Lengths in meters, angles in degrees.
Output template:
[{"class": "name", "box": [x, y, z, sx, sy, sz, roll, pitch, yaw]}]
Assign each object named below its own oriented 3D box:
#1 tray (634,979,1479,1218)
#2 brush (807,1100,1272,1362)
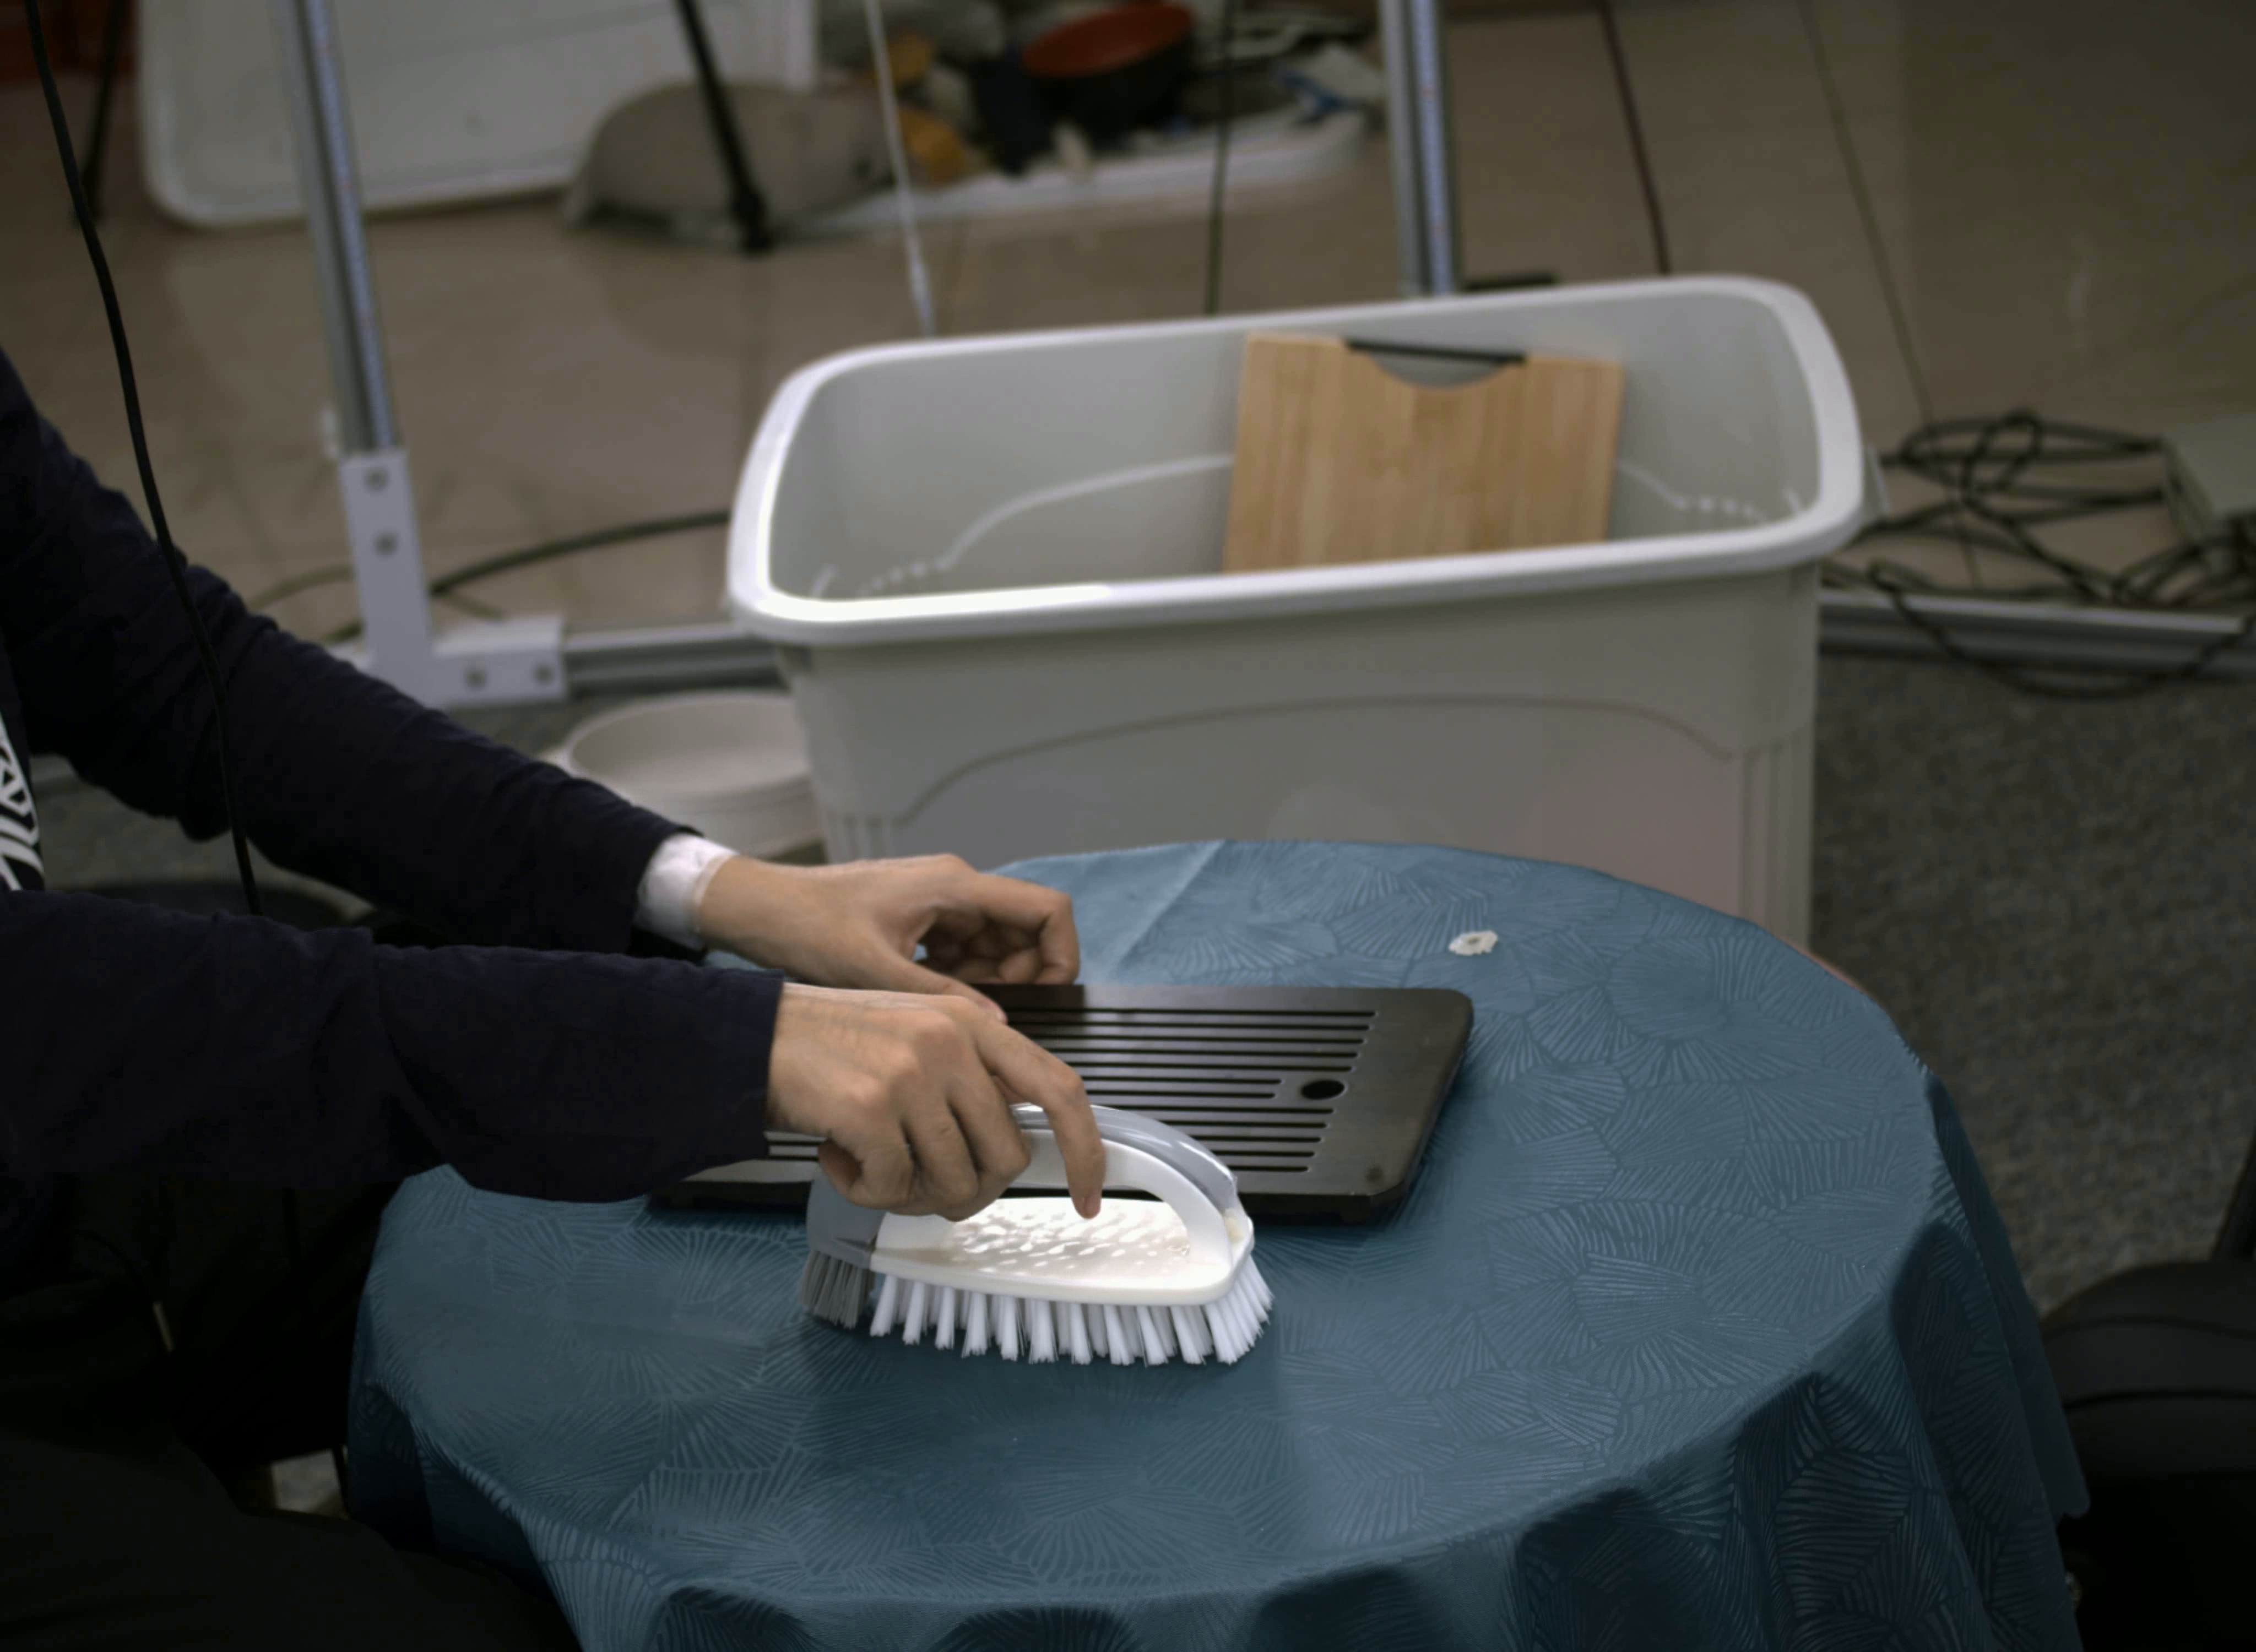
[{"class": "tray", "box": [-0.026, 0.105, 2.206, 0.305, 0.019, 0.168, 0, 25, 15]}, {"class": "brush", "box": [-0.040, 0.143, 2.042, 0.175, 0.096, 0.060, 1, 30, 19]}]
